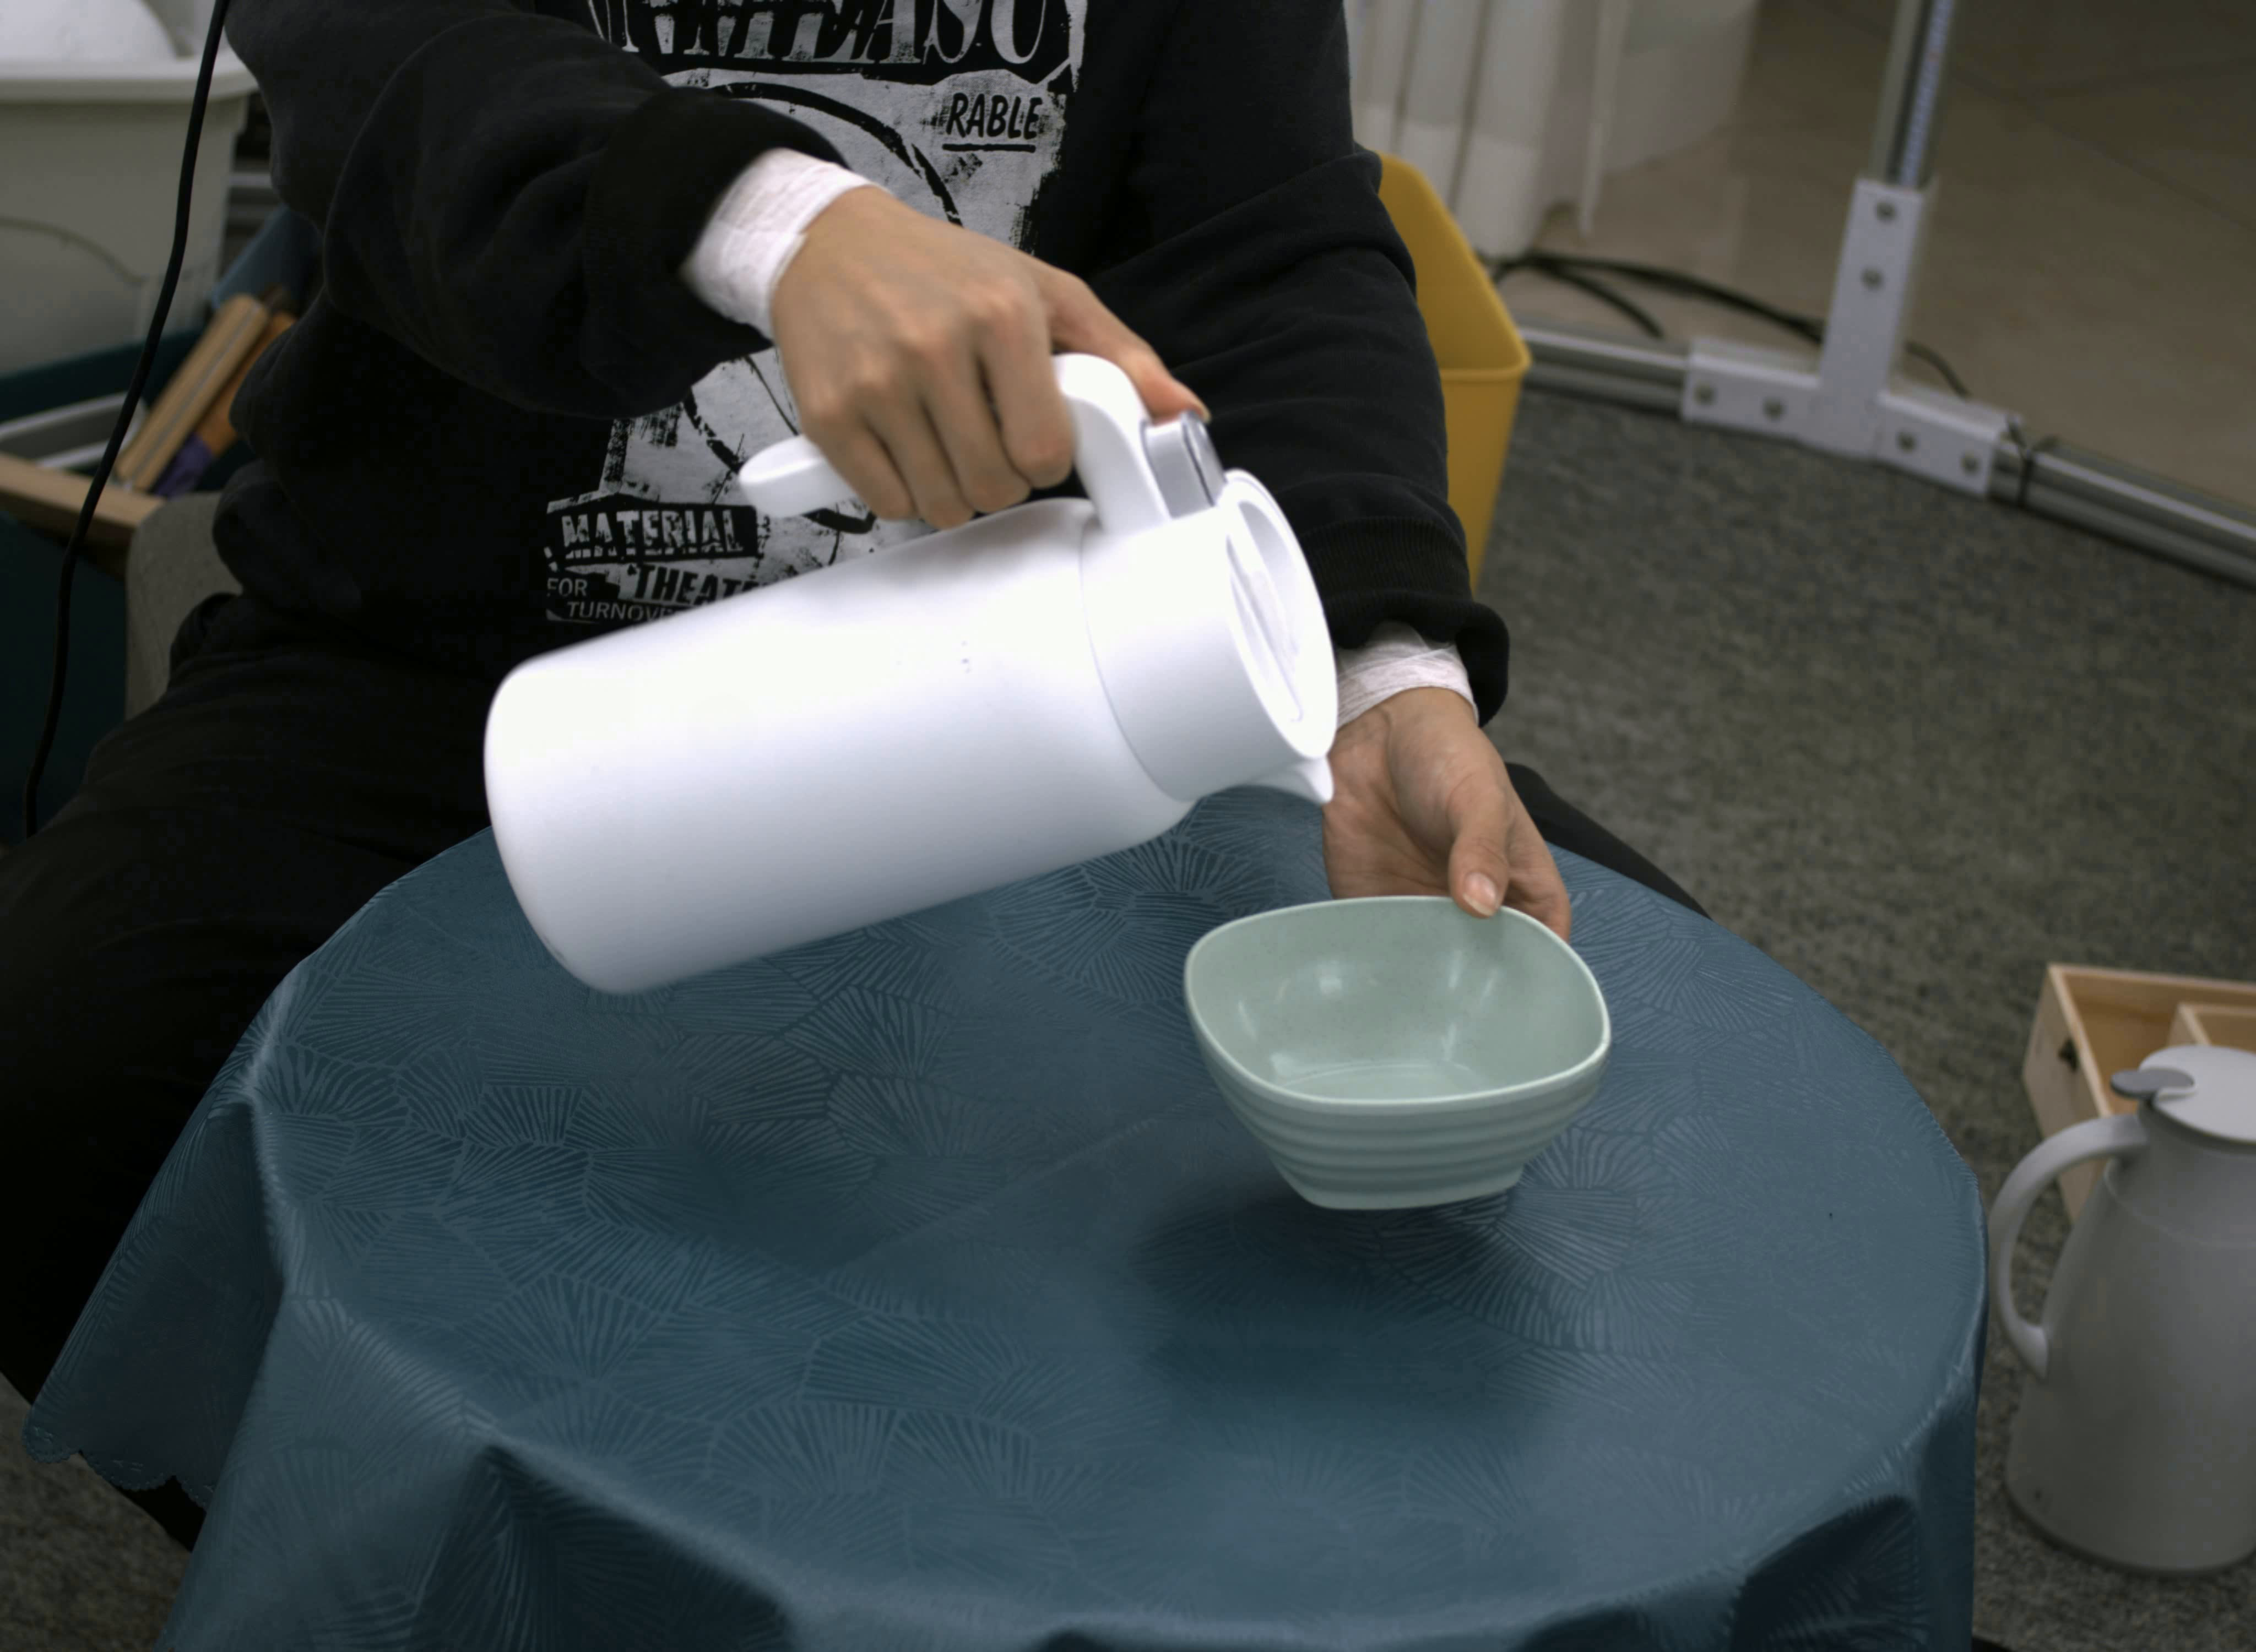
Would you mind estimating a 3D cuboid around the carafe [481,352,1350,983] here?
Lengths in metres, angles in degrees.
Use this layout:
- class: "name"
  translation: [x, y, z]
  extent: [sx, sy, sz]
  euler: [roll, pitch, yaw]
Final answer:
- class: "carafe"
  translation: [-0.079, -0.048, 1.739]
  extent: [0.269, 0.172, 0.124]
  euler: [-15, 26, 21]

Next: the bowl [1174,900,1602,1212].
- class: "bowl"
  translation: [0.085, 0.083, 1.780]
  extent: [0.151, 0.058, 0.152]
  euler: [1, 27, -1]
